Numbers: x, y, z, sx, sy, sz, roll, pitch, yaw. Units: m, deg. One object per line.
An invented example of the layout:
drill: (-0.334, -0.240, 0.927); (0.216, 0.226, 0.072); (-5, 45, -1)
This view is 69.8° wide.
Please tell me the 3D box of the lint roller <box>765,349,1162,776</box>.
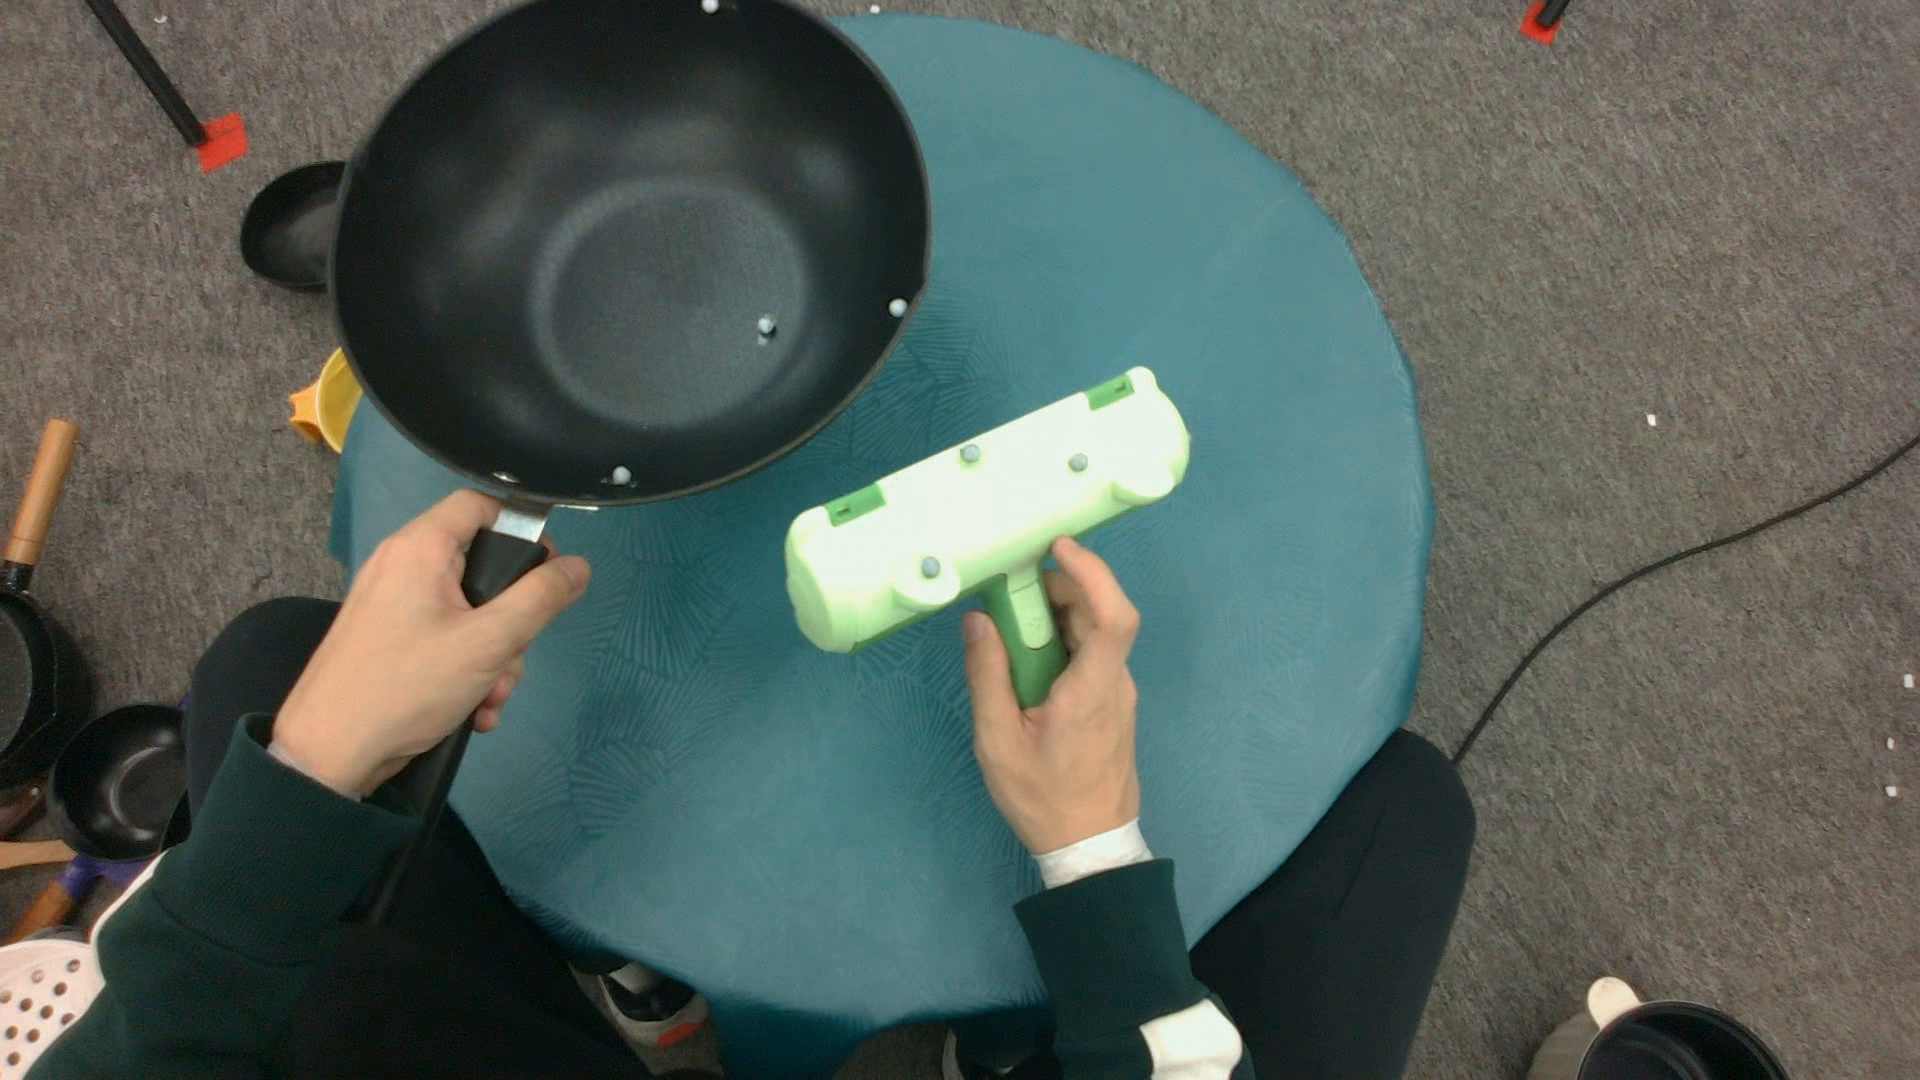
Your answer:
lint roller: (0.027, 0.031, 0.619); (0.199, 0.082, 0.183); (-28, 106, -27)

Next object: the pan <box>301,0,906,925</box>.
pan: (-0.184, -0.054, 0.643); (0.288, 0.086, 0.464); (12, 75, 8)
